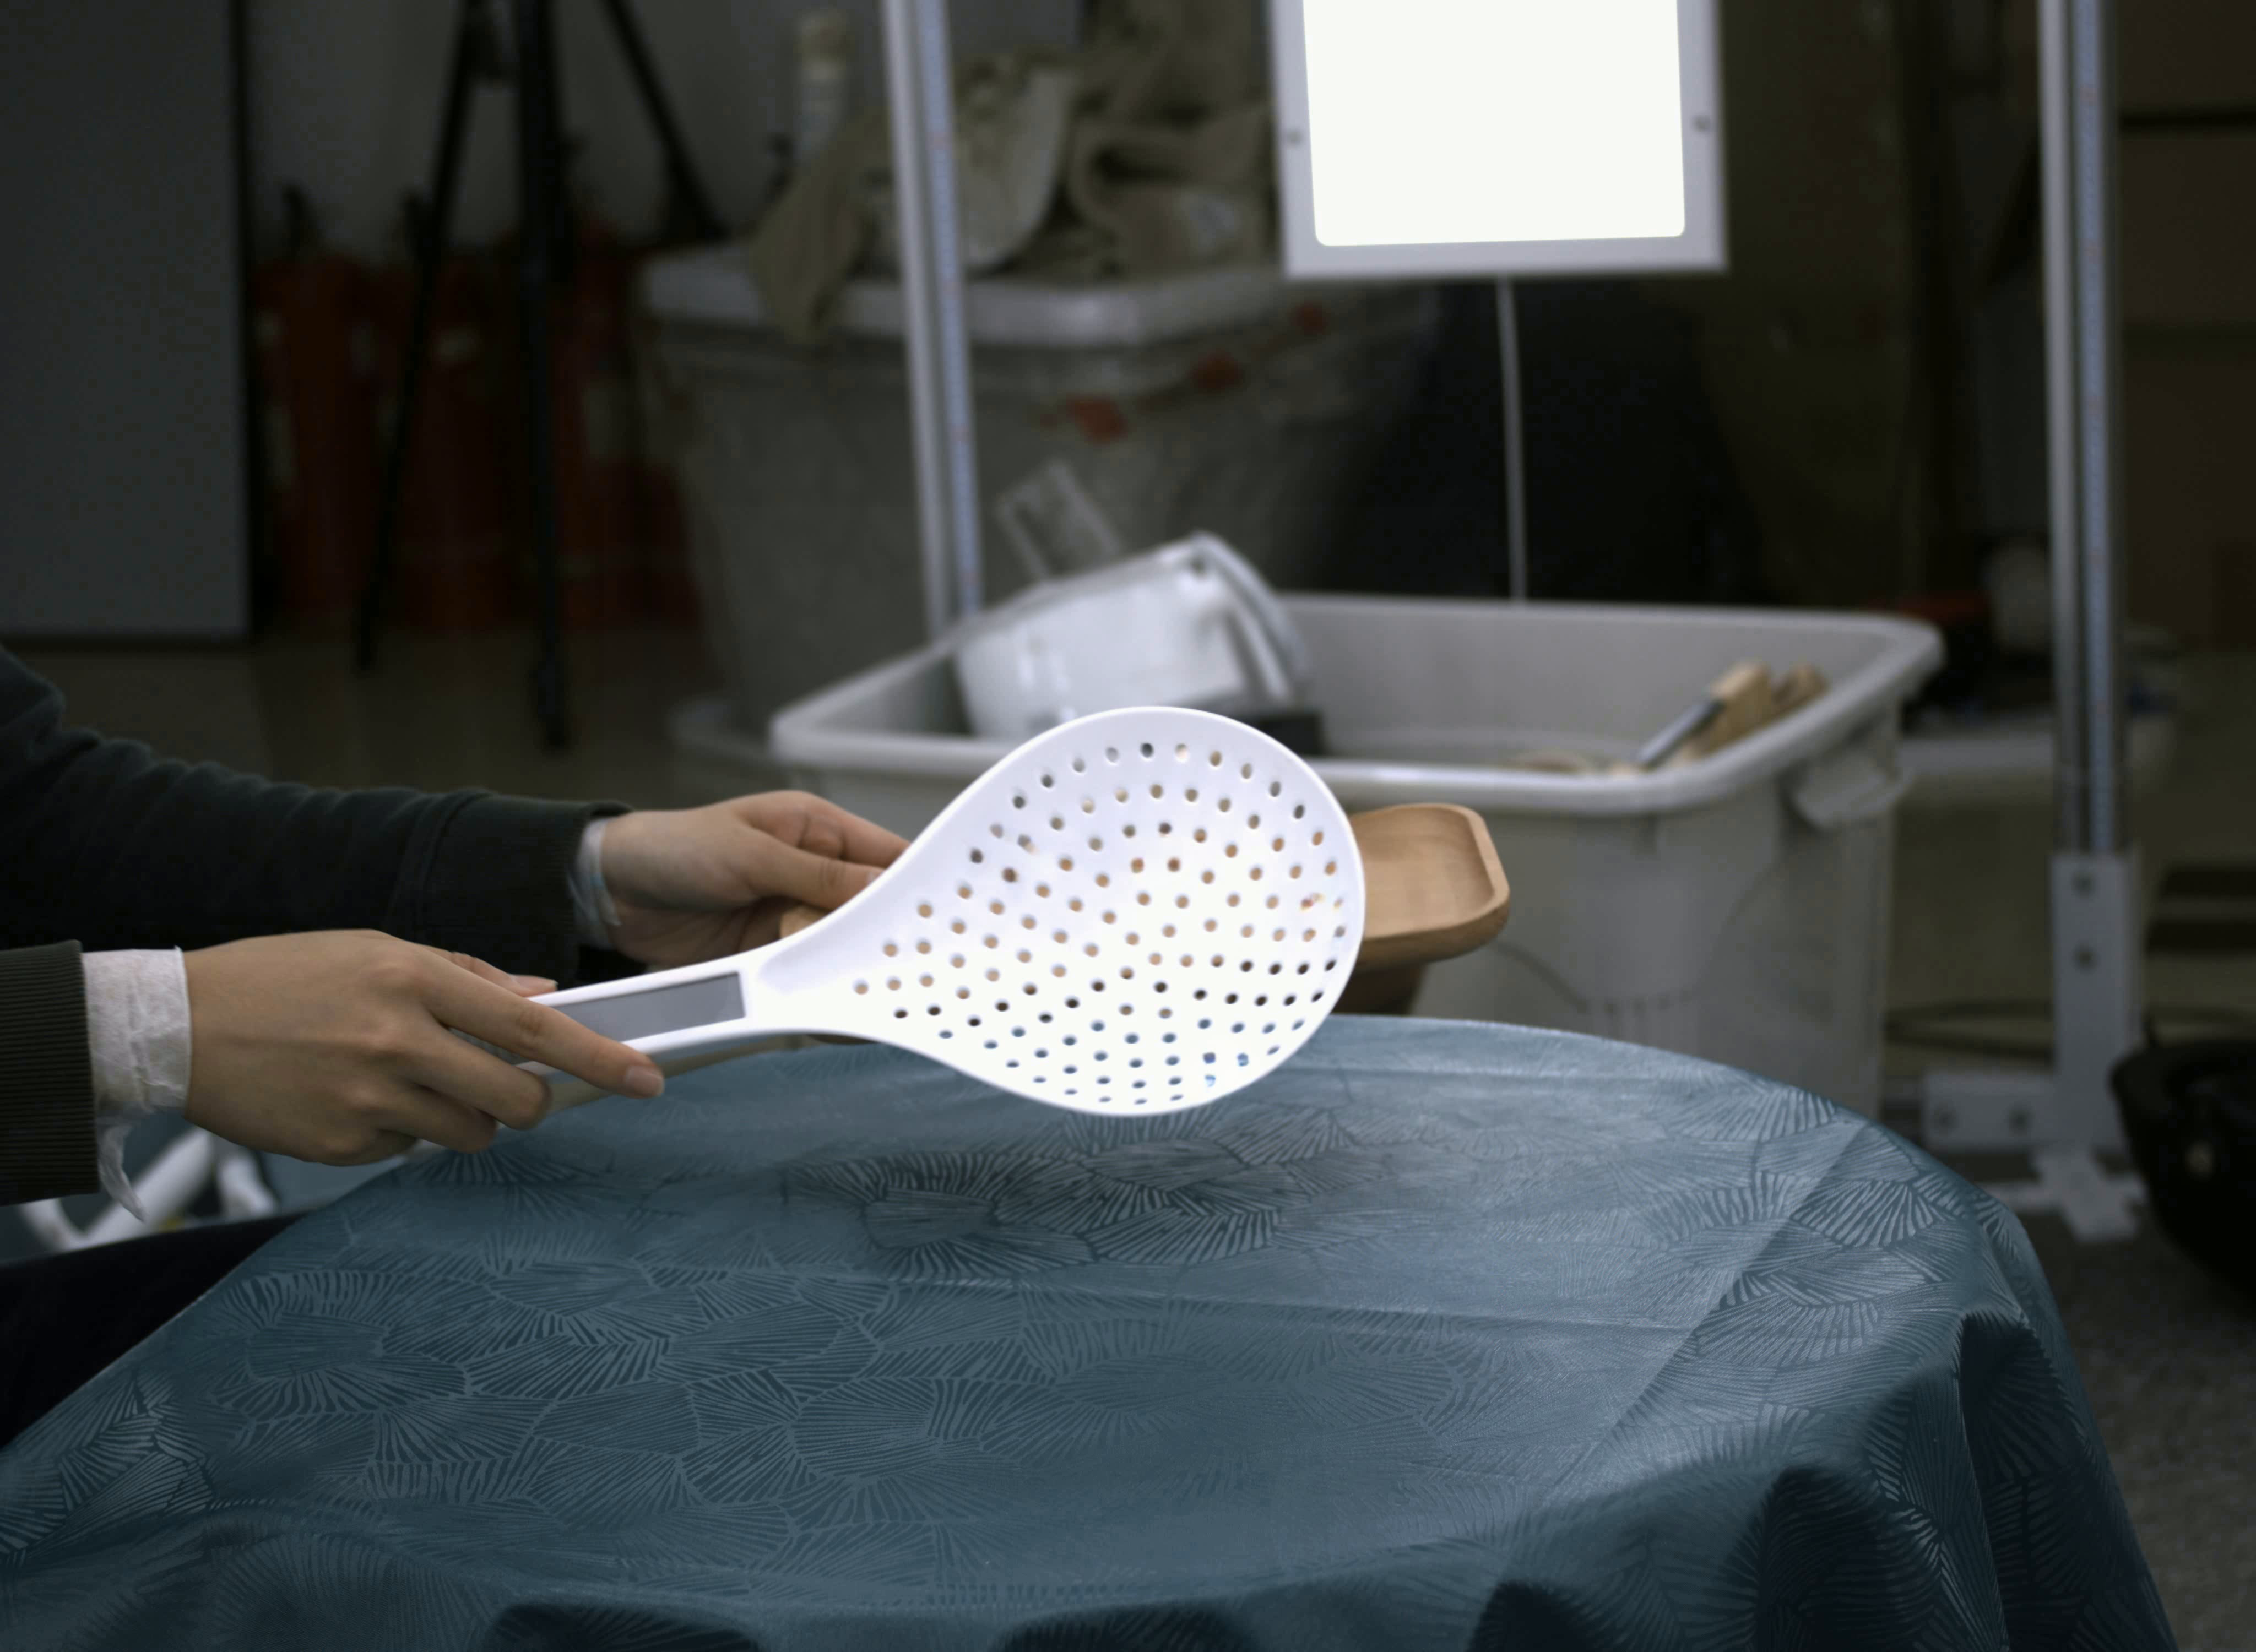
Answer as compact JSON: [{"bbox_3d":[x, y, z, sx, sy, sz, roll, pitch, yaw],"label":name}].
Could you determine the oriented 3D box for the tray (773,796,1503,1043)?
[{"bbox_3d":[0.002,0.032,1.898,0.250,0.023,0.130,-9,18,2],"label":"tray"}]

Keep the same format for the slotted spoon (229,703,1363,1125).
[{"bbox_3d":[-0.102,0.048,1.675,0.349,0.136,0.046,-9,-25,1],"label":"slotted spoon"}]
